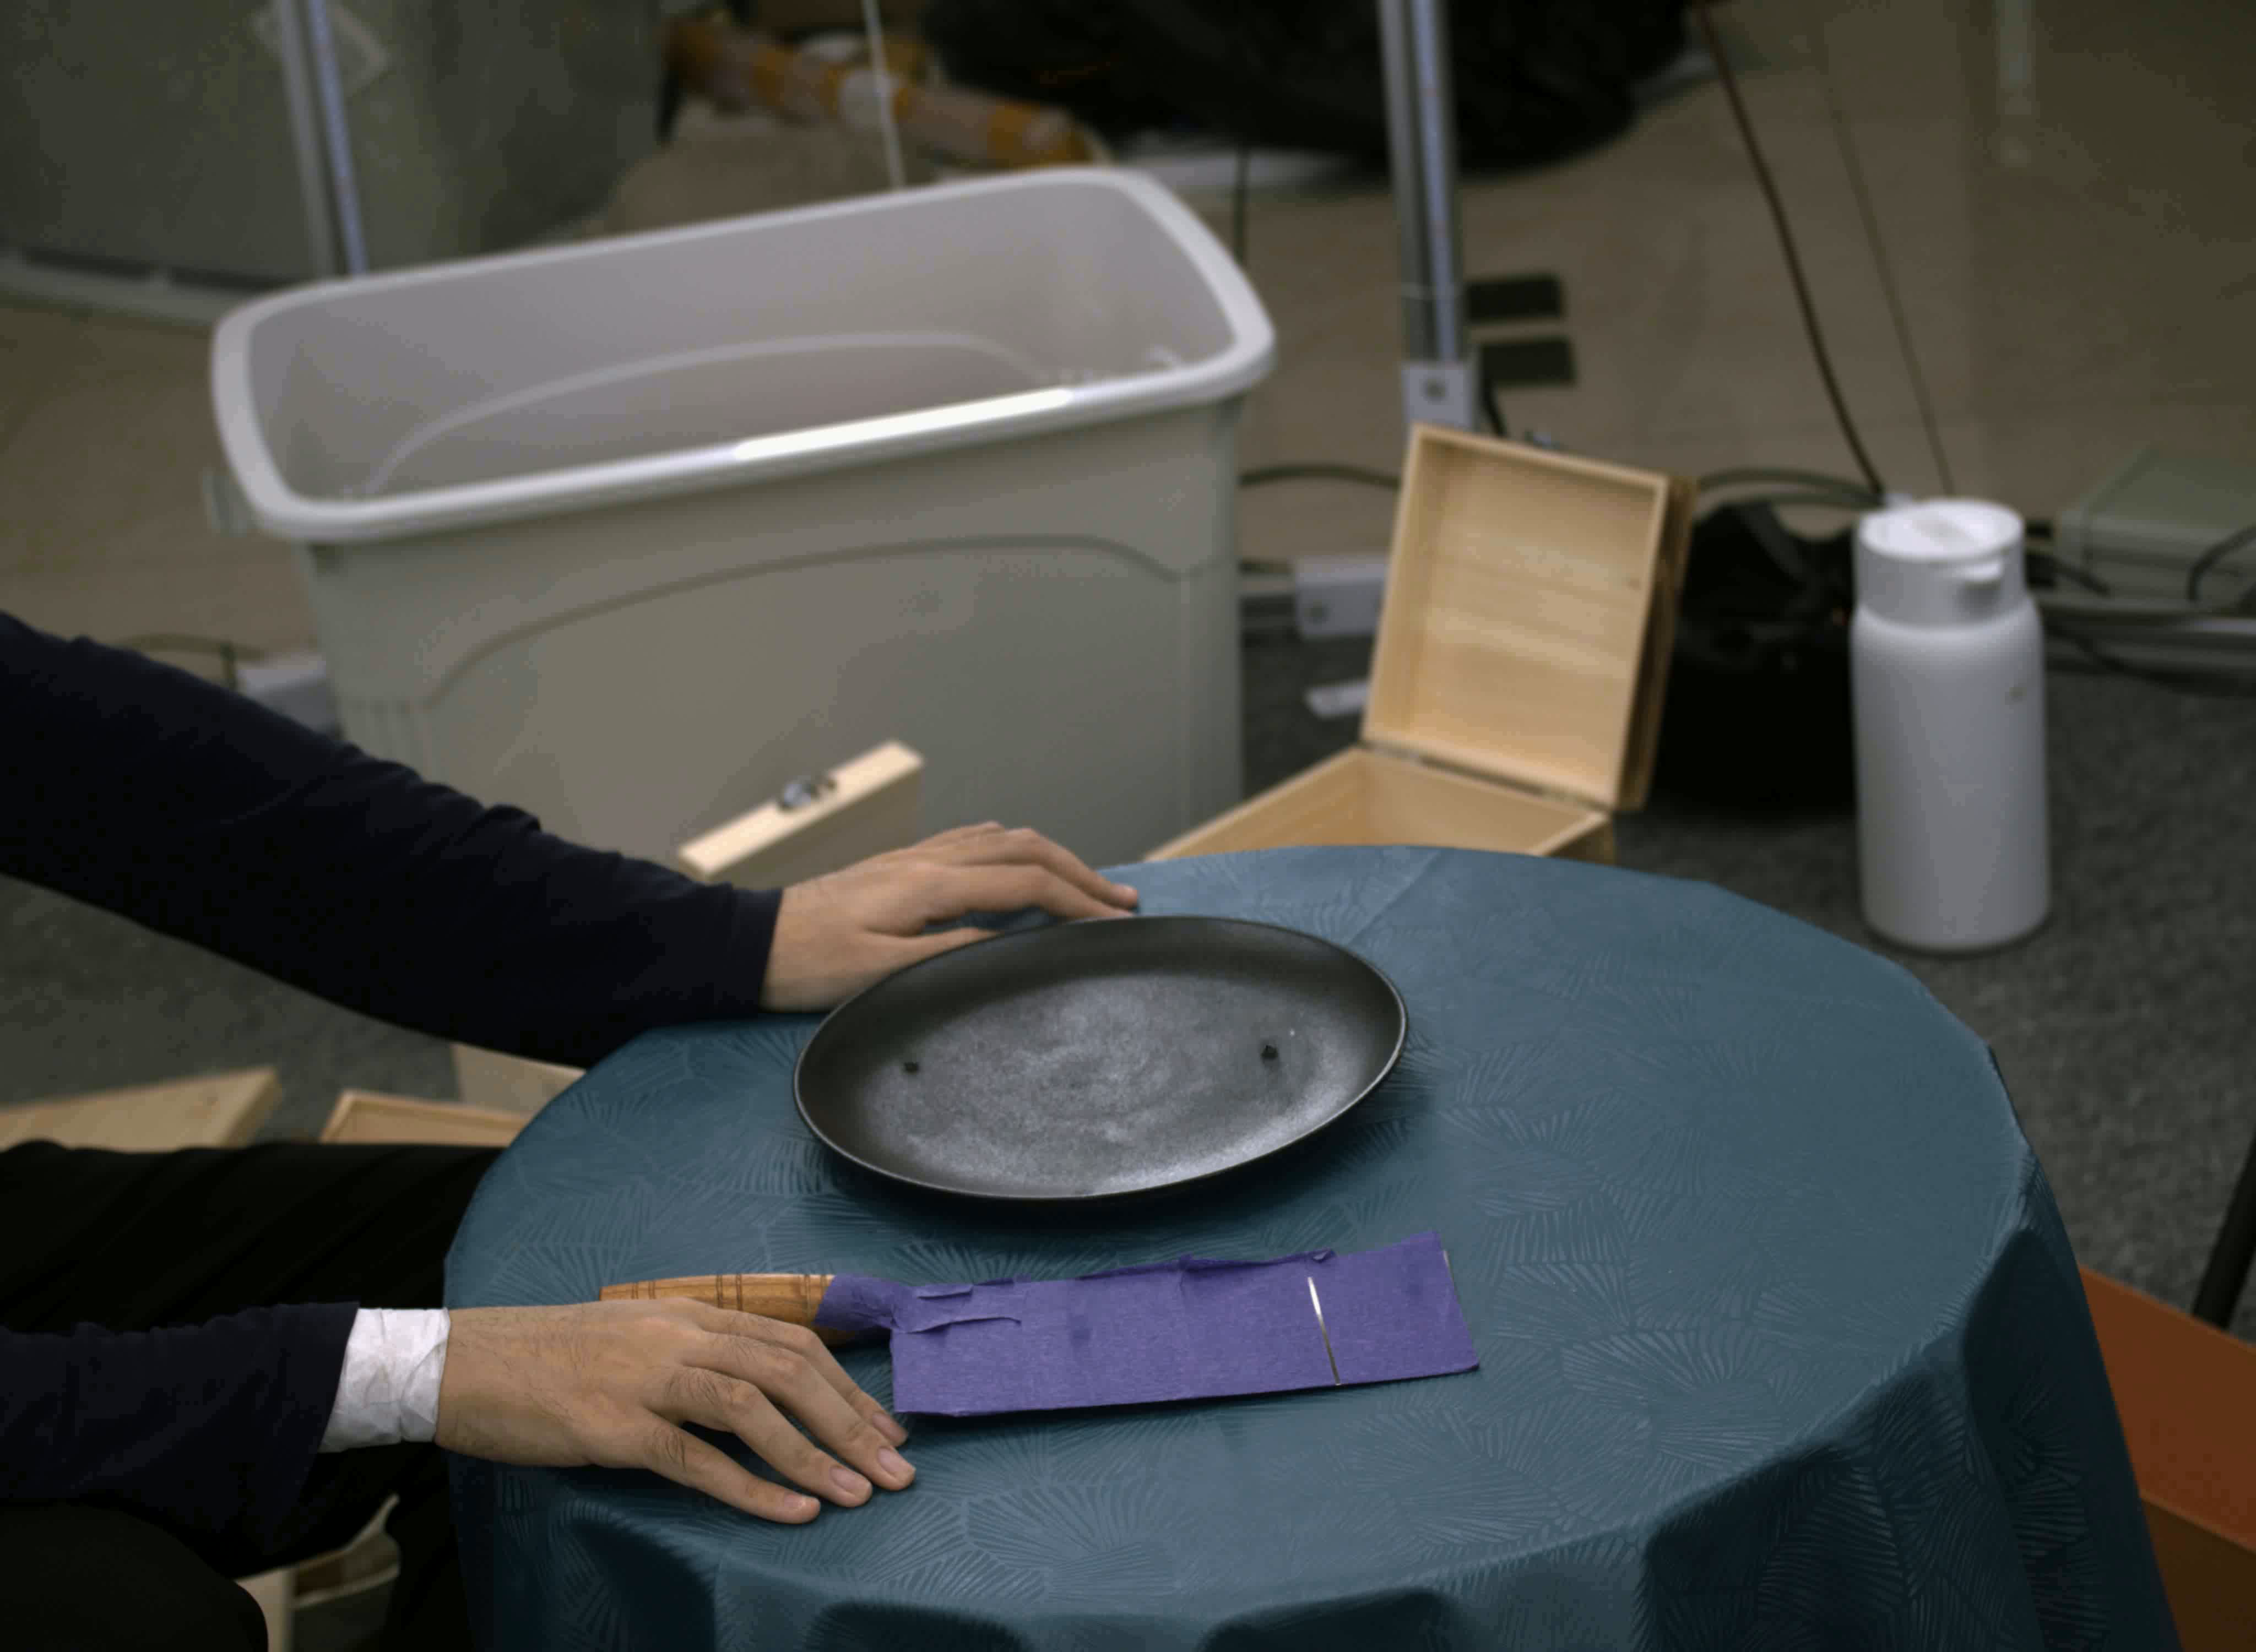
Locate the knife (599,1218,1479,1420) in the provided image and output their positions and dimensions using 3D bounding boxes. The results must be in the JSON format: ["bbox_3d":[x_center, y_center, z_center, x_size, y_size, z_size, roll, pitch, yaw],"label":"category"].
[{"bbox_3d":[-0.033,0.181,2.038,0.315,0.033,0.102,-7,24,-2],"label":"knife"}]

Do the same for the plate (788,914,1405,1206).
[{"bbox_3d":[-0.012,0.096,2.220,0.244,0.024,0.241,-5,25,3],"label":"plate"}]
